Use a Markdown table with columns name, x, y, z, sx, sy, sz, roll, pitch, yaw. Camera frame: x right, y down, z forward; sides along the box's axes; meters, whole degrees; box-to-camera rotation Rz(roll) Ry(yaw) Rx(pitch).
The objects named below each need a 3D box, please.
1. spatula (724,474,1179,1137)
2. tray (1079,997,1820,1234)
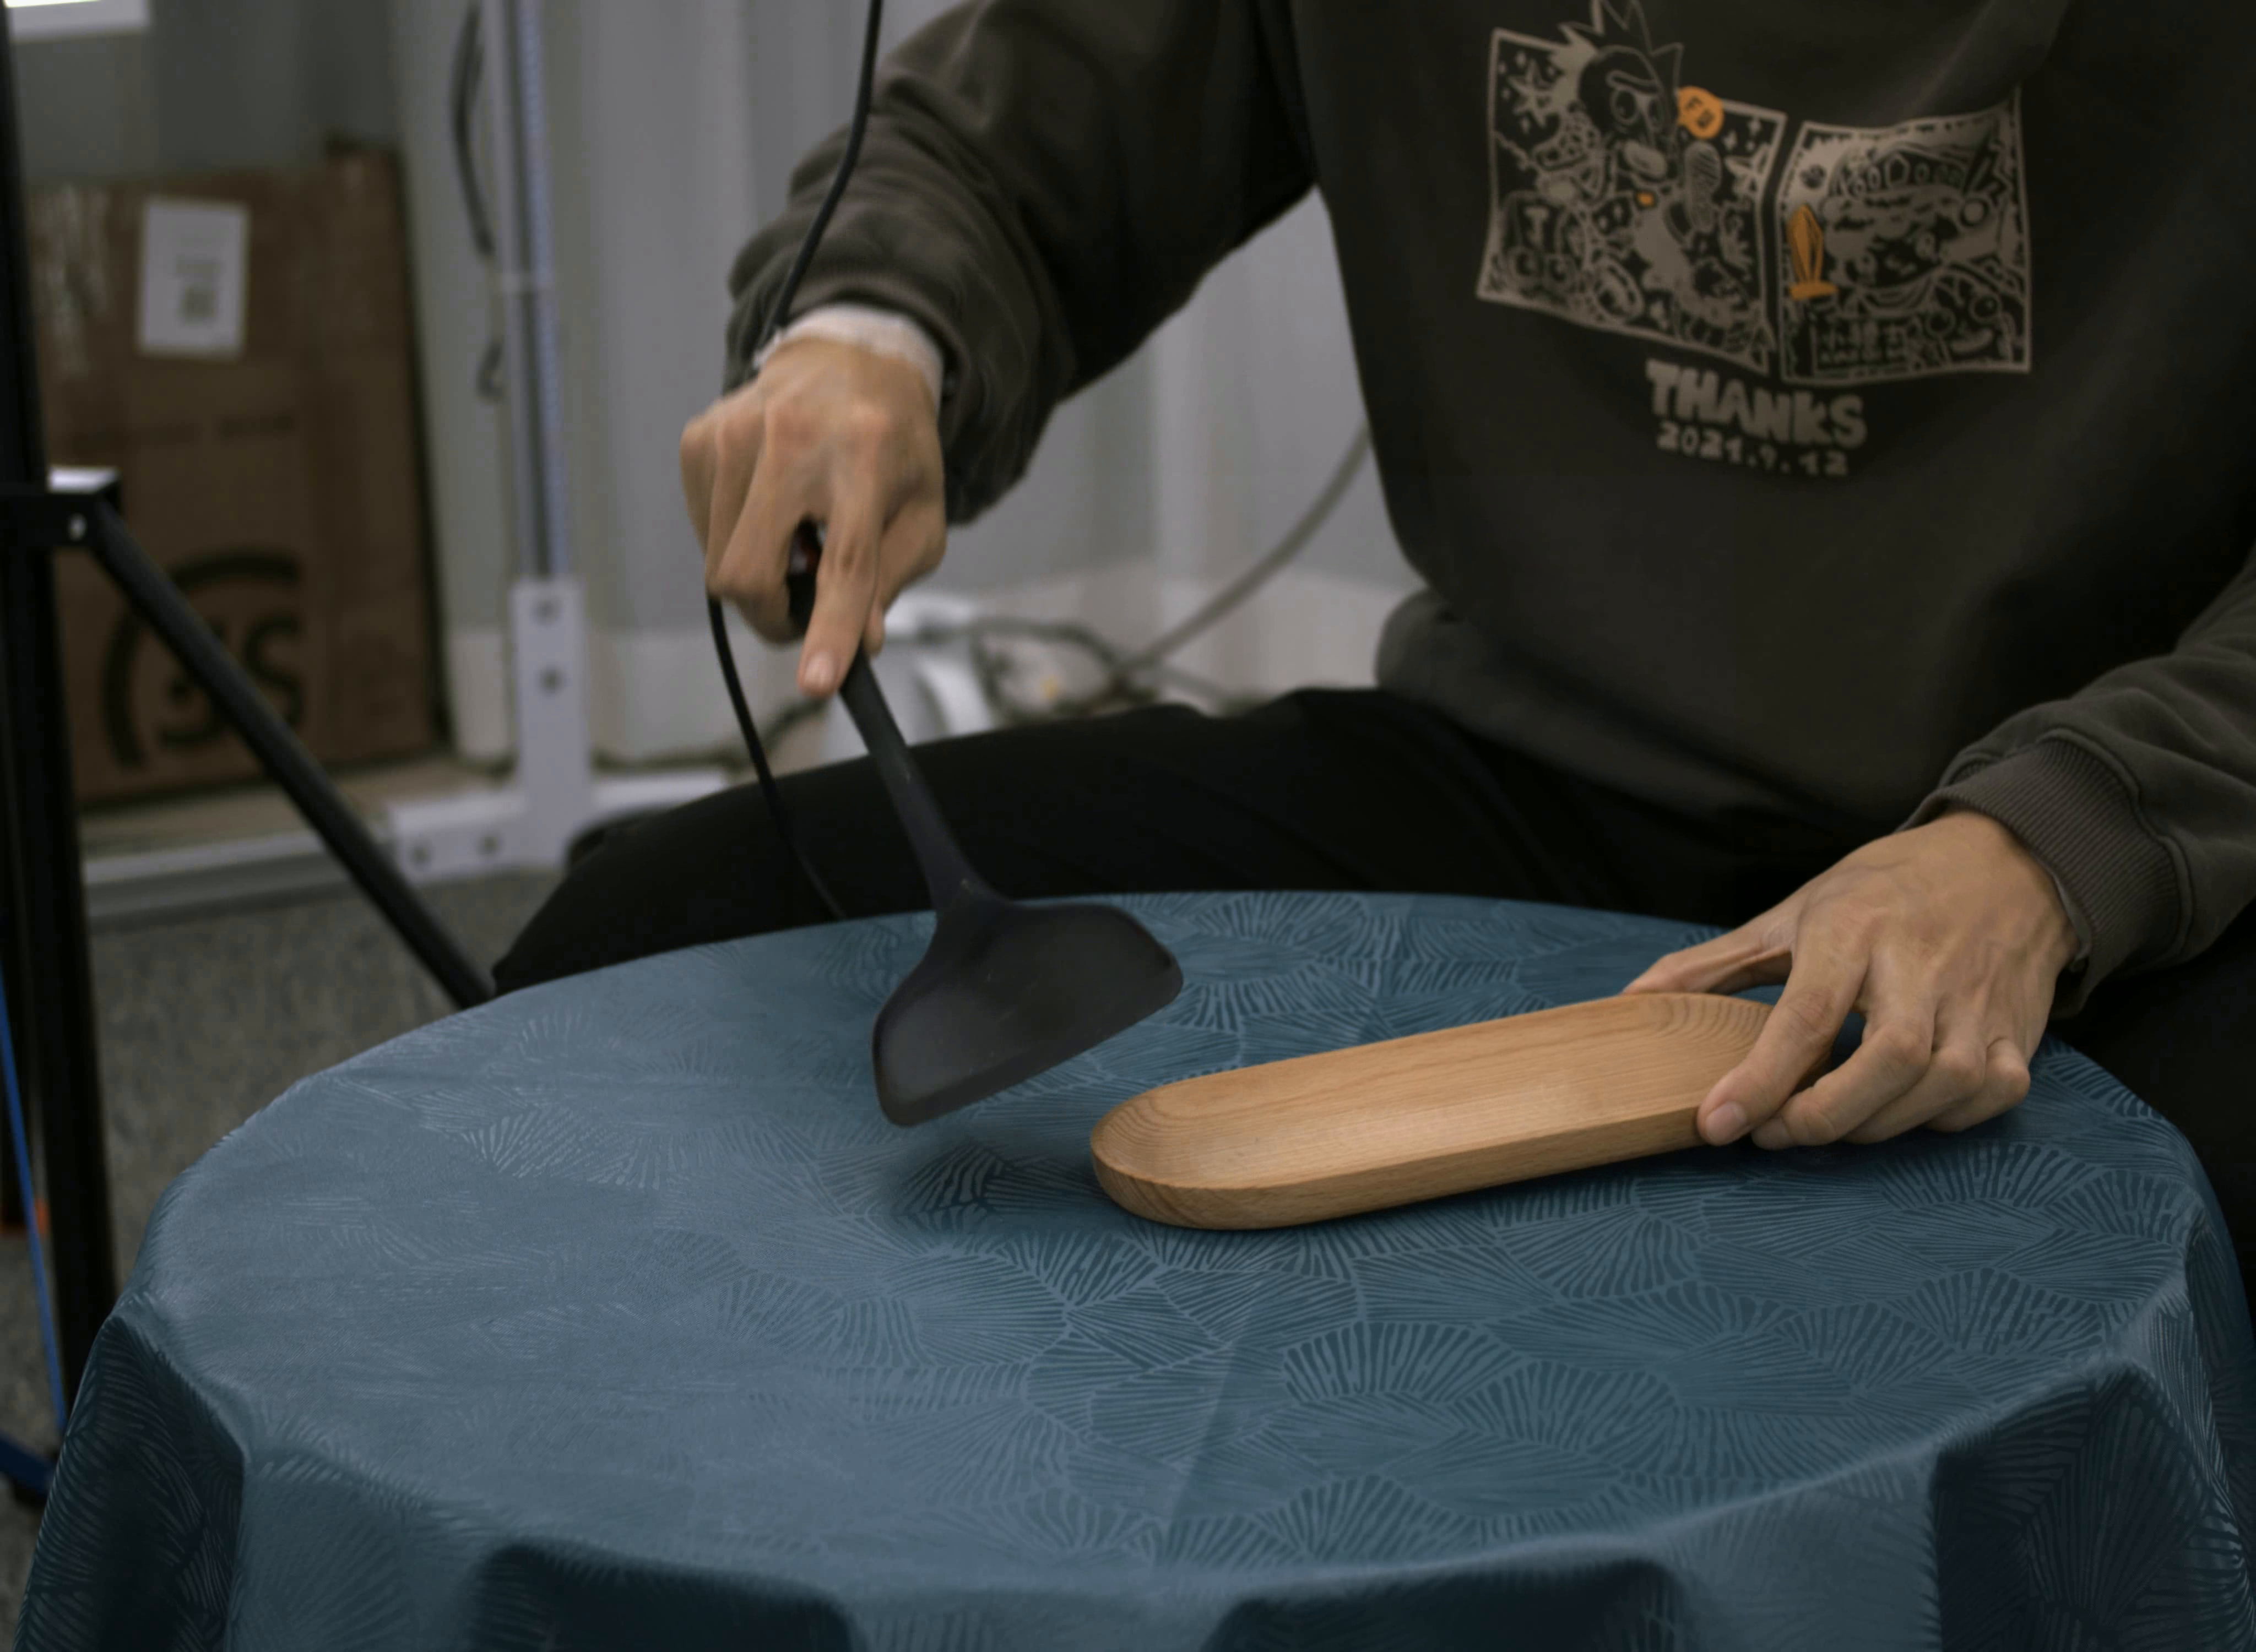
| name | x | y | z | sx | sy | sz | roll | pitch | yaw |
| --- | --- | --- | --- | --- | --- | --- | --- | --- | --- |
| spatula | -0.077 | -0.020 | 1.667 | 0.099 | 0.040 | 0.332 | -26 | 46 | -3 |
| tray | 0.097 | 0.086 | 1.581 | 0.227 | 0.020 | 0.103 | -11 | 17 | -16 |
